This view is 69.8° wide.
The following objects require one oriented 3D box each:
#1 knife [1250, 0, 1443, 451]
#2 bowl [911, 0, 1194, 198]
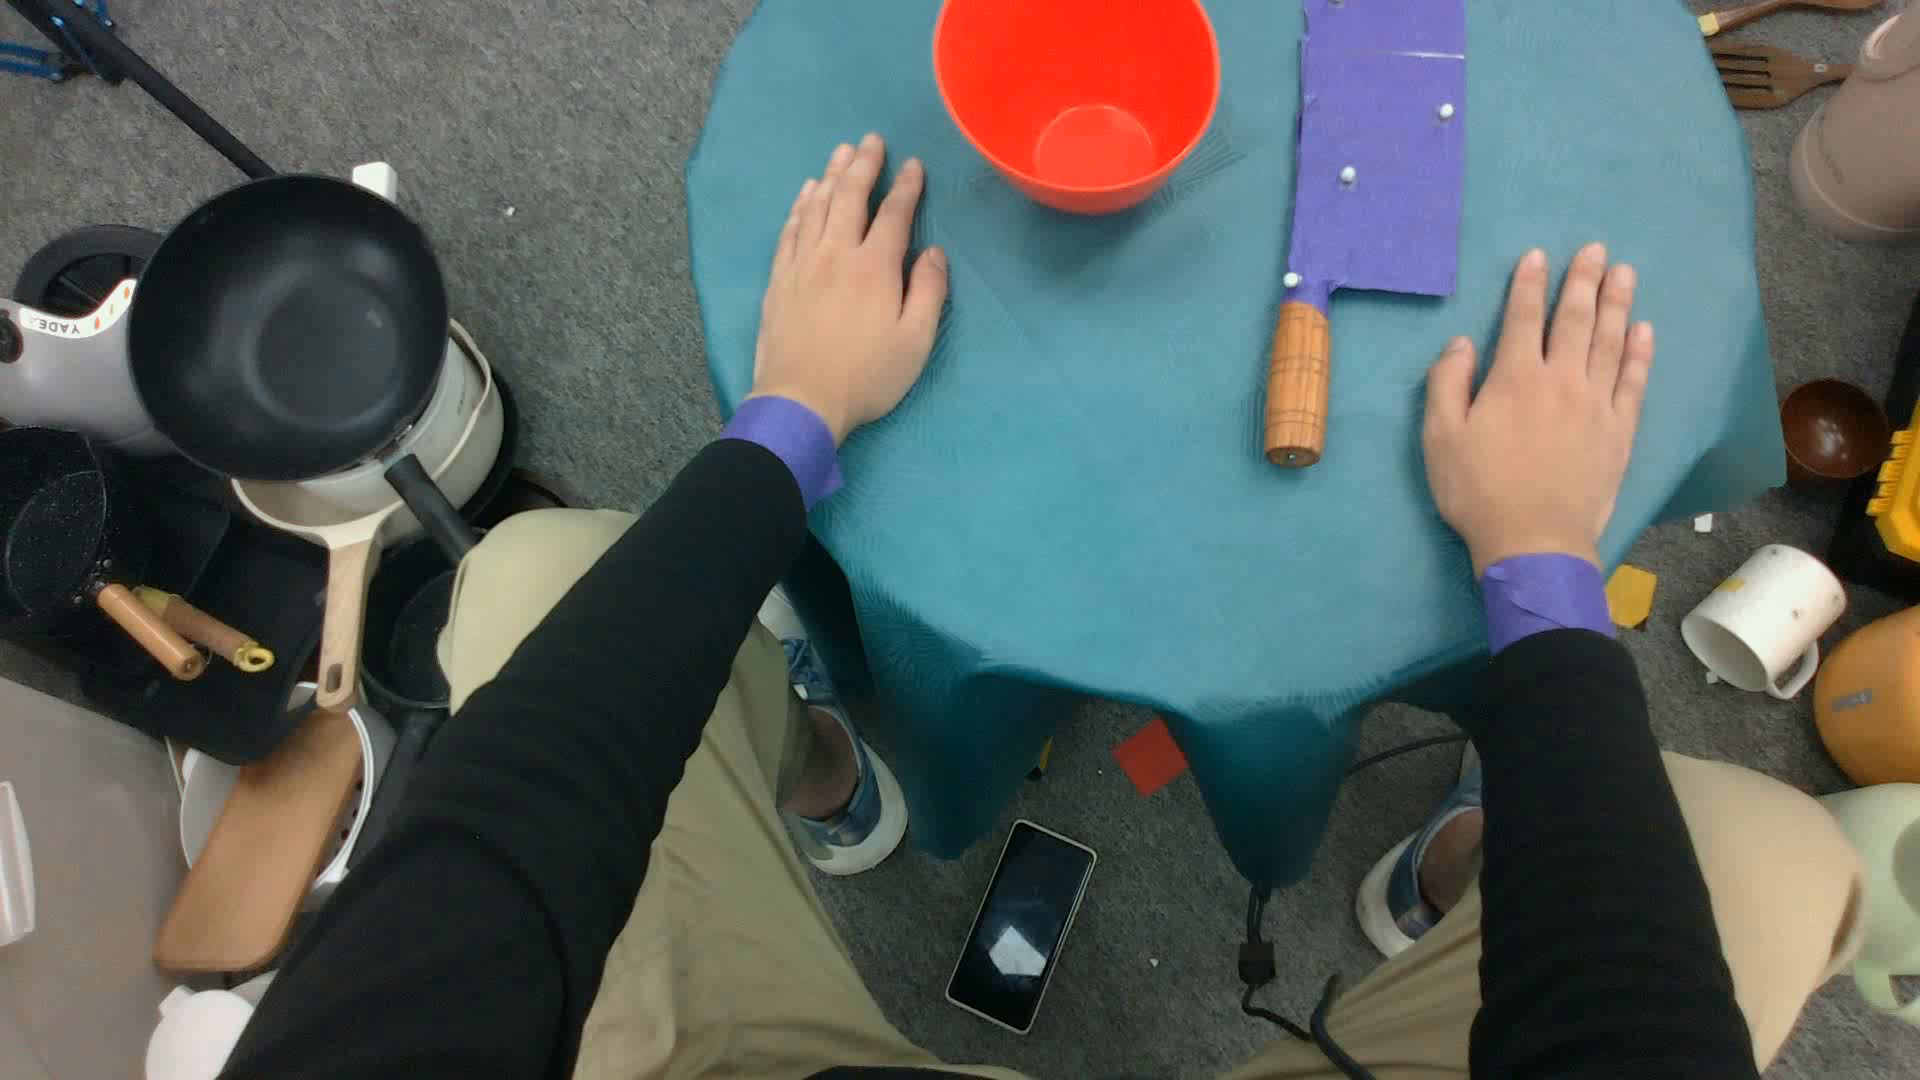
[{"bbox_3d":[0.215,-0.198,0.767,0.104,0.032,0.316,5,73,5],"label":"knife"},{"bbox_3d":[0.051,-0.246,0.753,0.148,0.104,0.148,-1,73,2],"label":"bowl"}]
